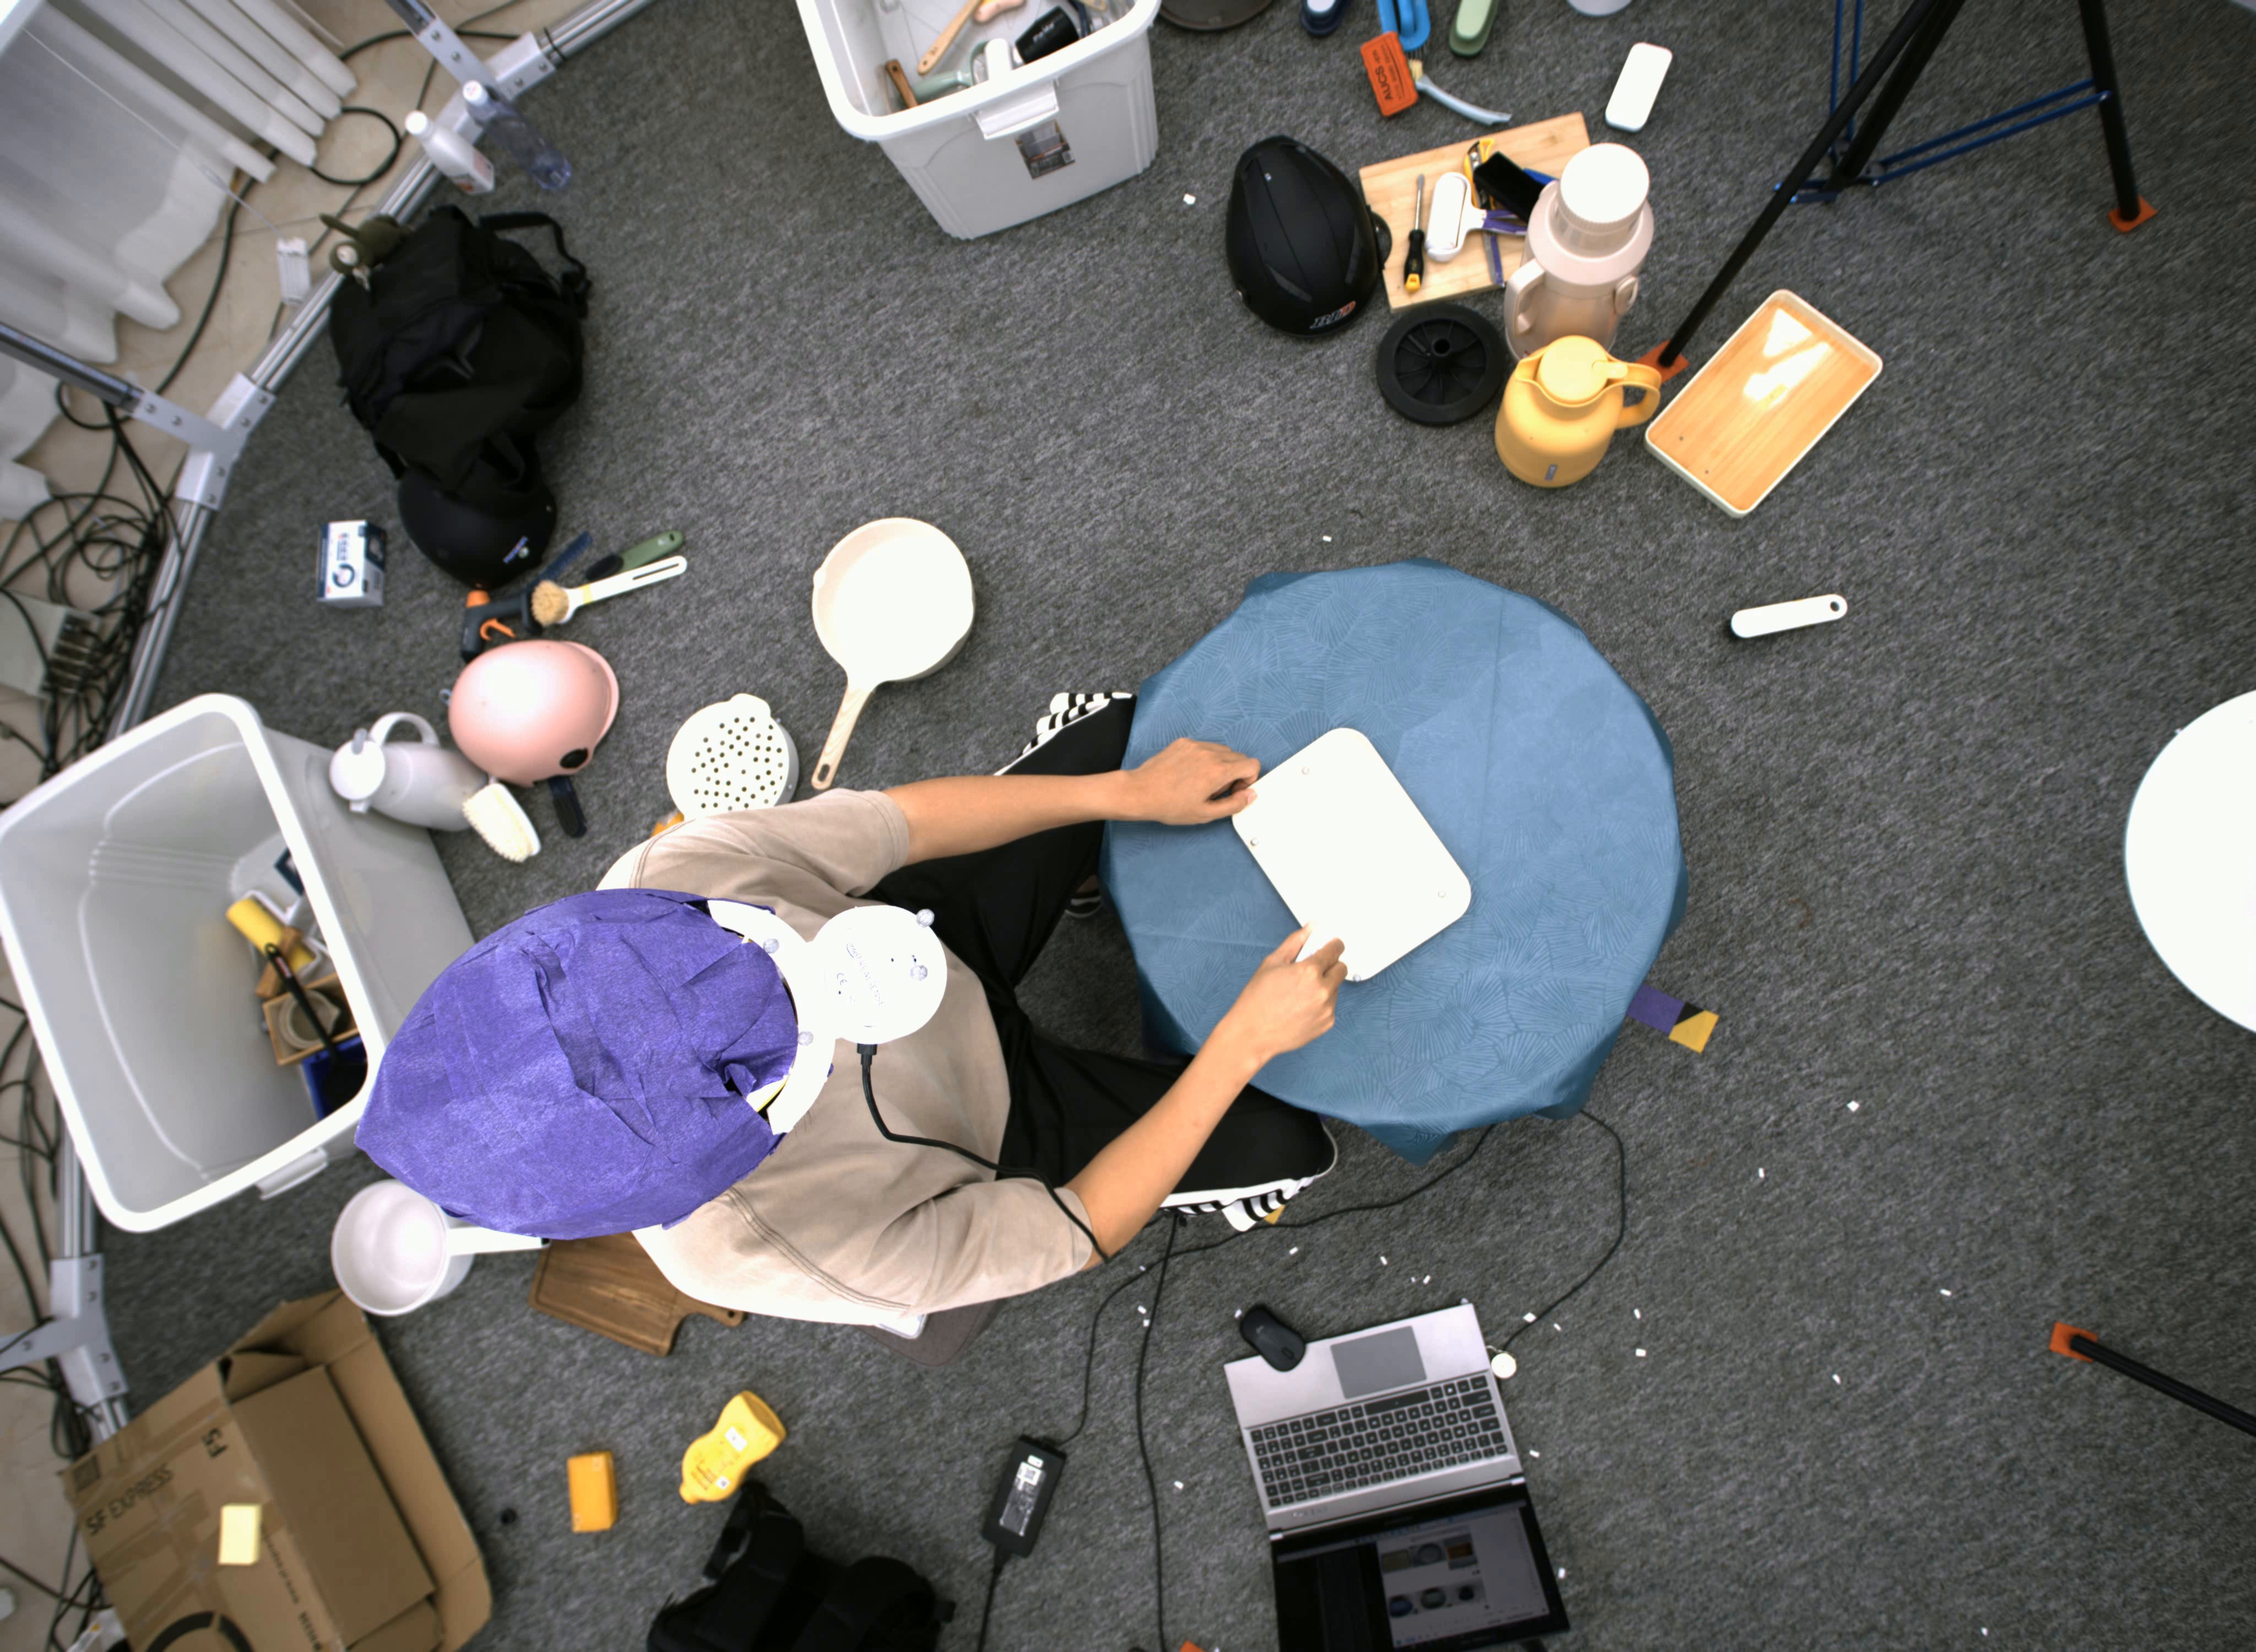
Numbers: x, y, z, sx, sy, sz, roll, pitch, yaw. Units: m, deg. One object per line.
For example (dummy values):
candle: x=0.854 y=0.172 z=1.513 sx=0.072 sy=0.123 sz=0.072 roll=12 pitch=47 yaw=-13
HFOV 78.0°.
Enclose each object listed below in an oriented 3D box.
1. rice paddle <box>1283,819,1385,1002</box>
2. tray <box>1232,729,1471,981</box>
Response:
rice paddle: x=0.199 y=0.075 z=1.352 sx=0.069 sy=0.030 sz=0.201 roll=22 pitch=65 yaw=7
tray: x=0.235 y=0.029 z=1.461 sx=0.172 sy=0.017 sz=0.238 roll=-35 pitch=81 yaw=6
